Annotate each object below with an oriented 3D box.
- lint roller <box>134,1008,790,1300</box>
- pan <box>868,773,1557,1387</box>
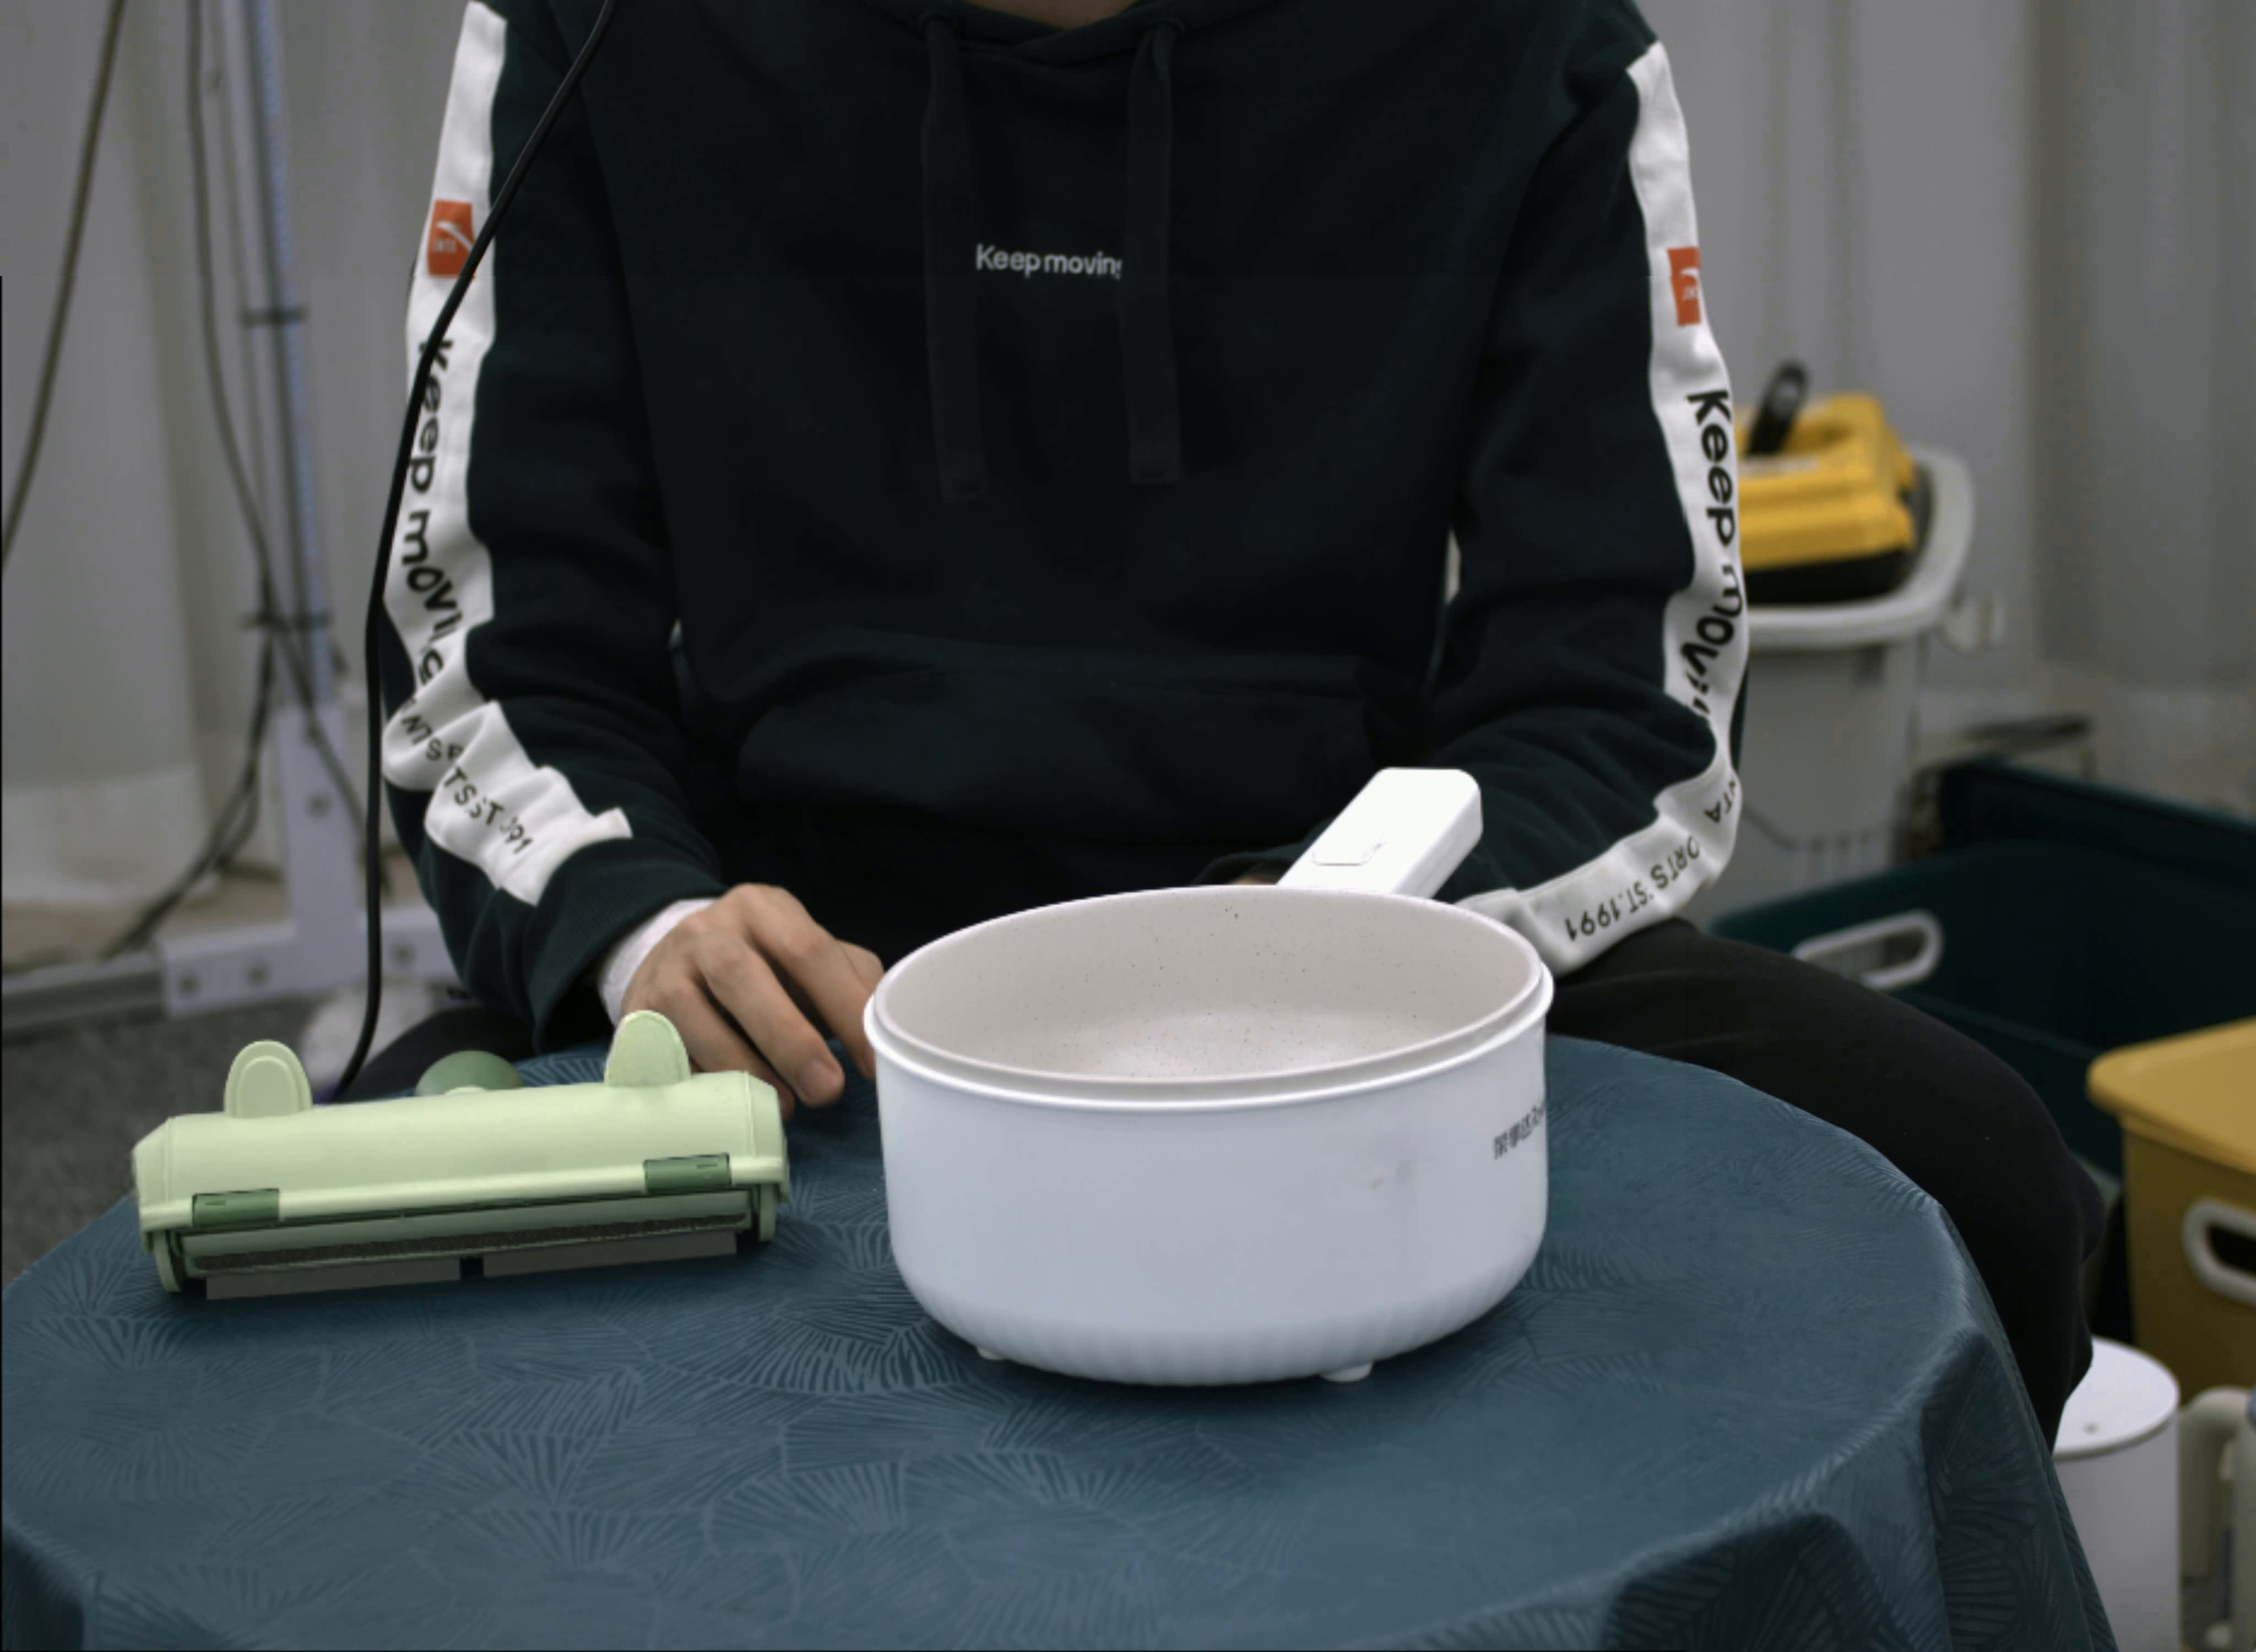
[{"bbox_3d":[-0.209,0.084,1.726,0.198,0.081,0.185,-5,20,-5],"label":"lint roller"},{"bbox_3d":[0.050,0.073,1.669,0.201,0.102,0.356,2,15,19],"label":"pan"}]
